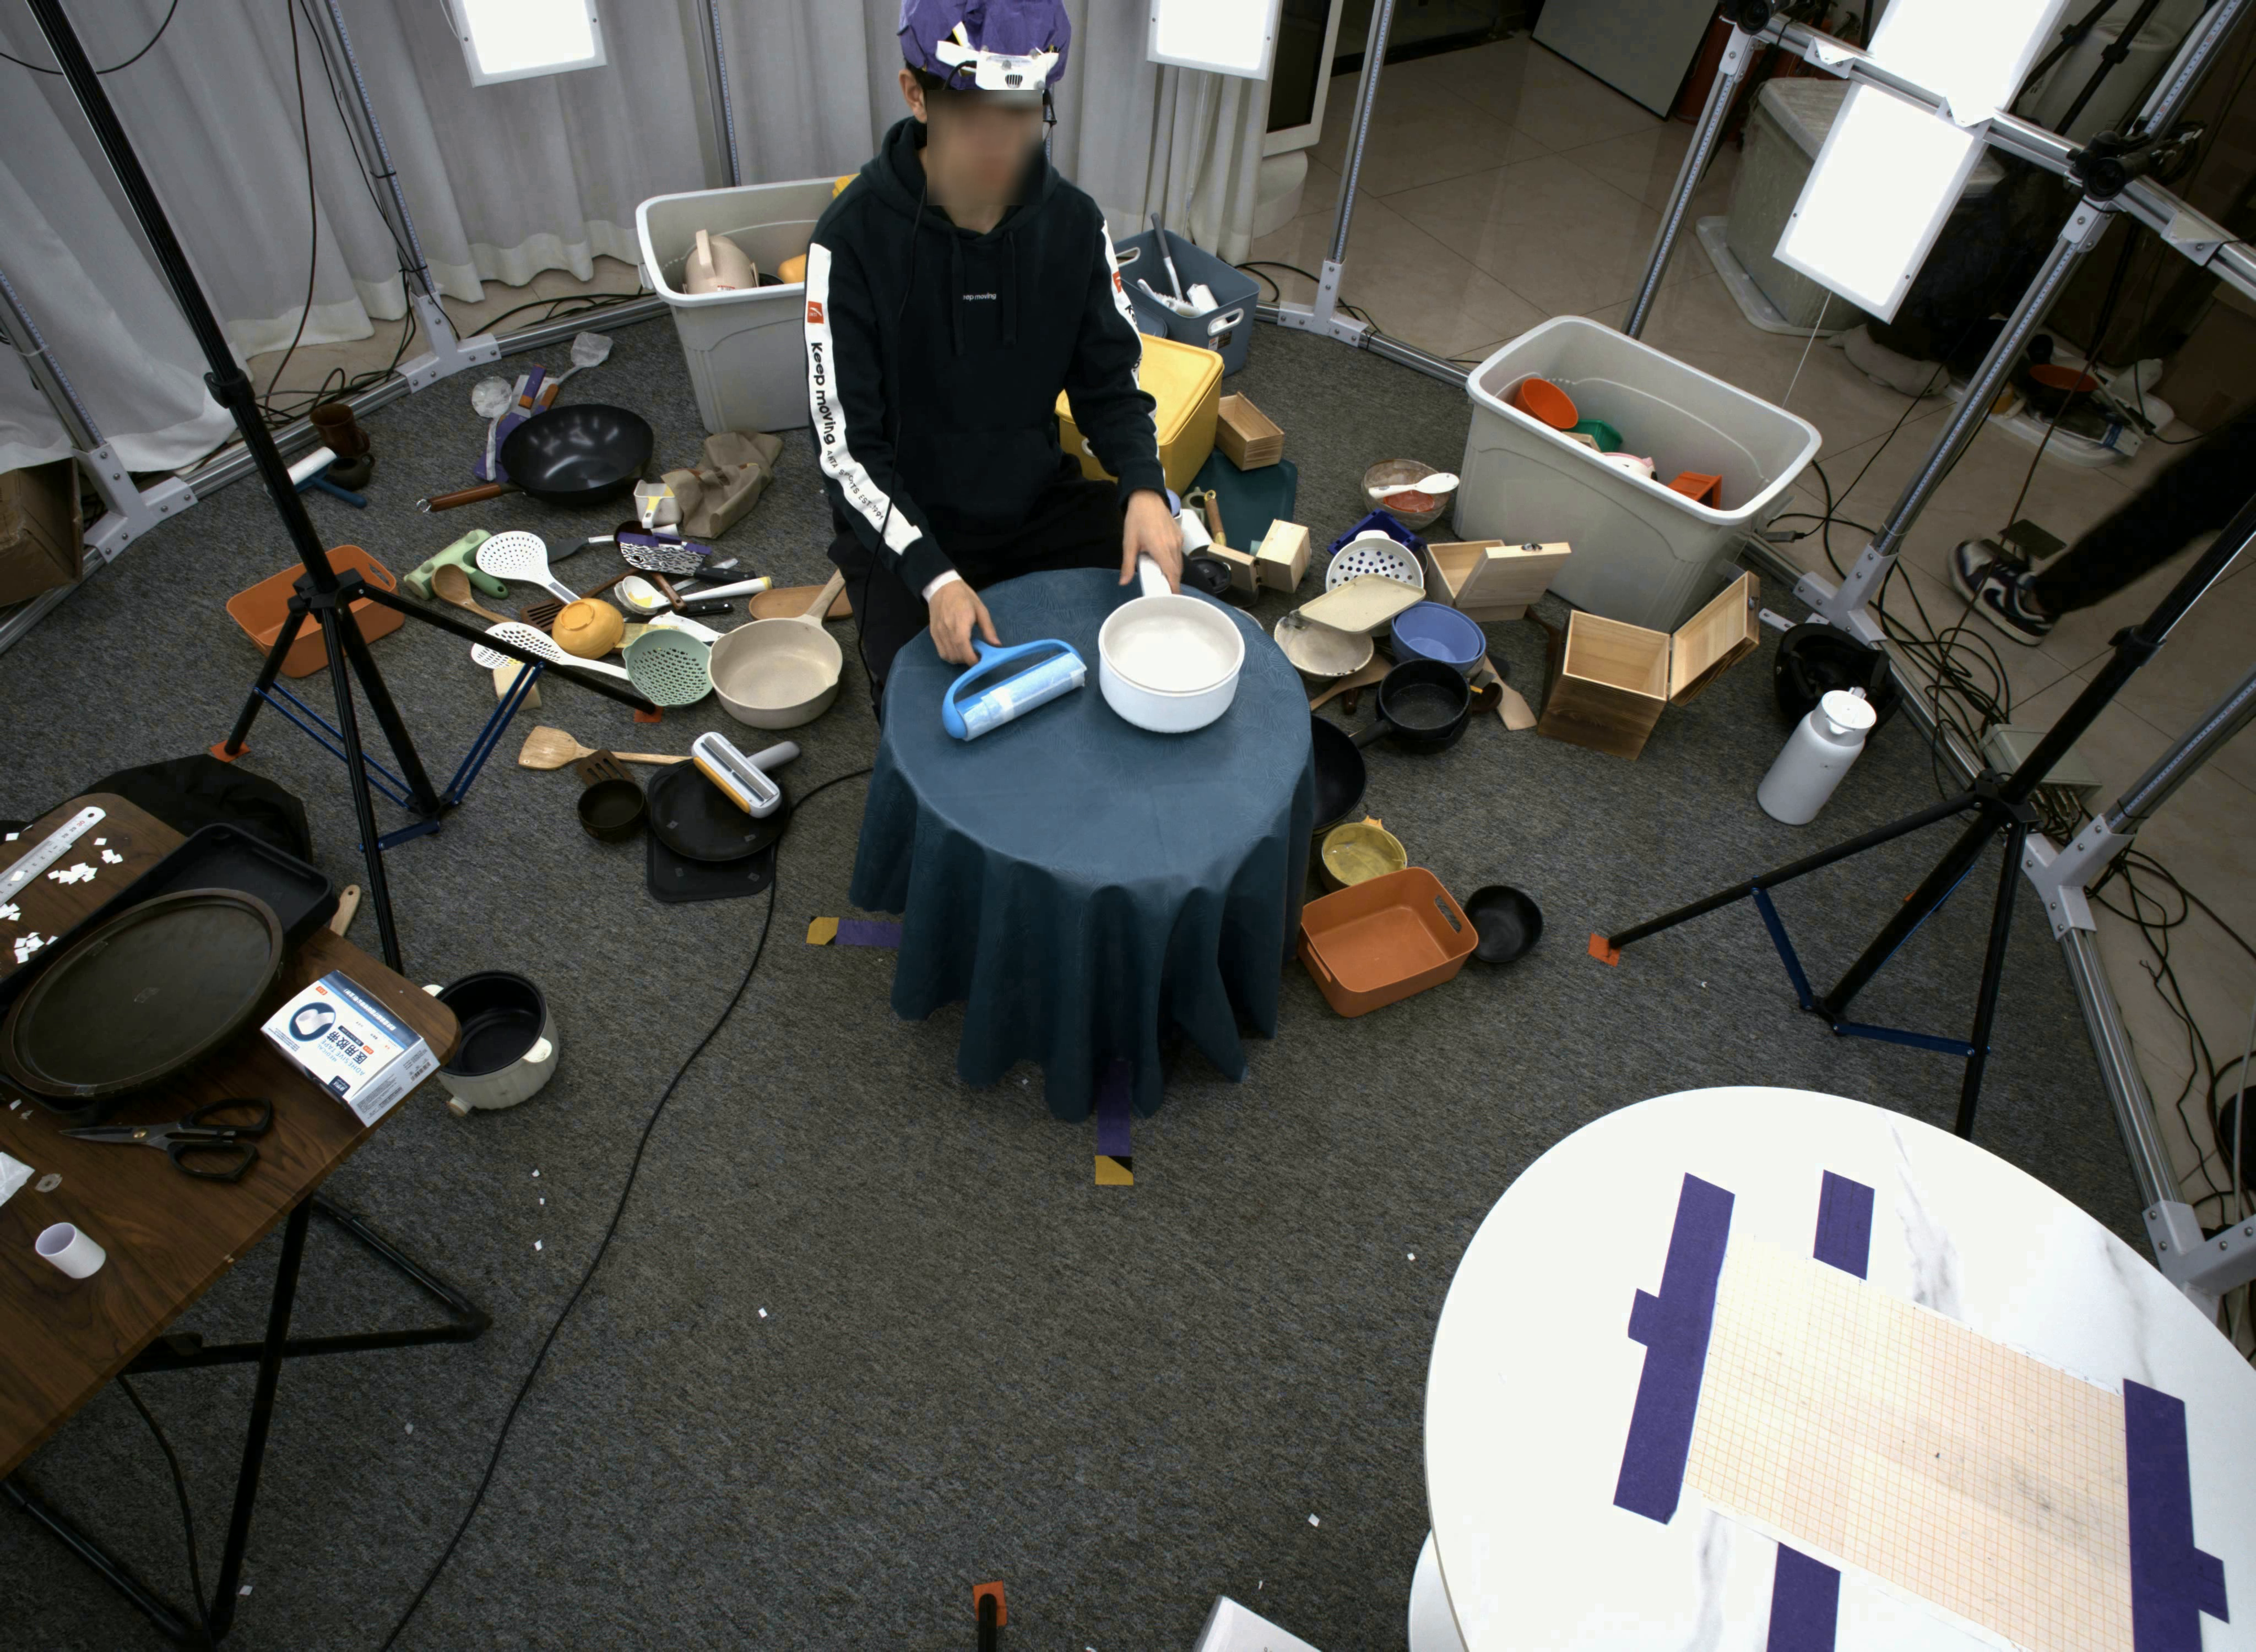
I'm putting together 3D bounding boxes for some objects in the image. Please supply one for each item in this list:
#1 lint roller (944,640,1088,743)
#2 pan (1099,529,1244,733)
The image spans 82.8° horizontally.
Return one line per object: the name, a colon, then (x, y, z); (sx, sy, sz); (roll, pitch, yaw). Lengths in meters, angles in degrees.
lint roller: (-0.189, -0.218, 1.808); (0.230, 0.066, 0.183); (-33, 59, -26)
pan: (0.048, -0.282, 1.852); (0.201, 0.099, 0.364); (-4, 49, -6)
